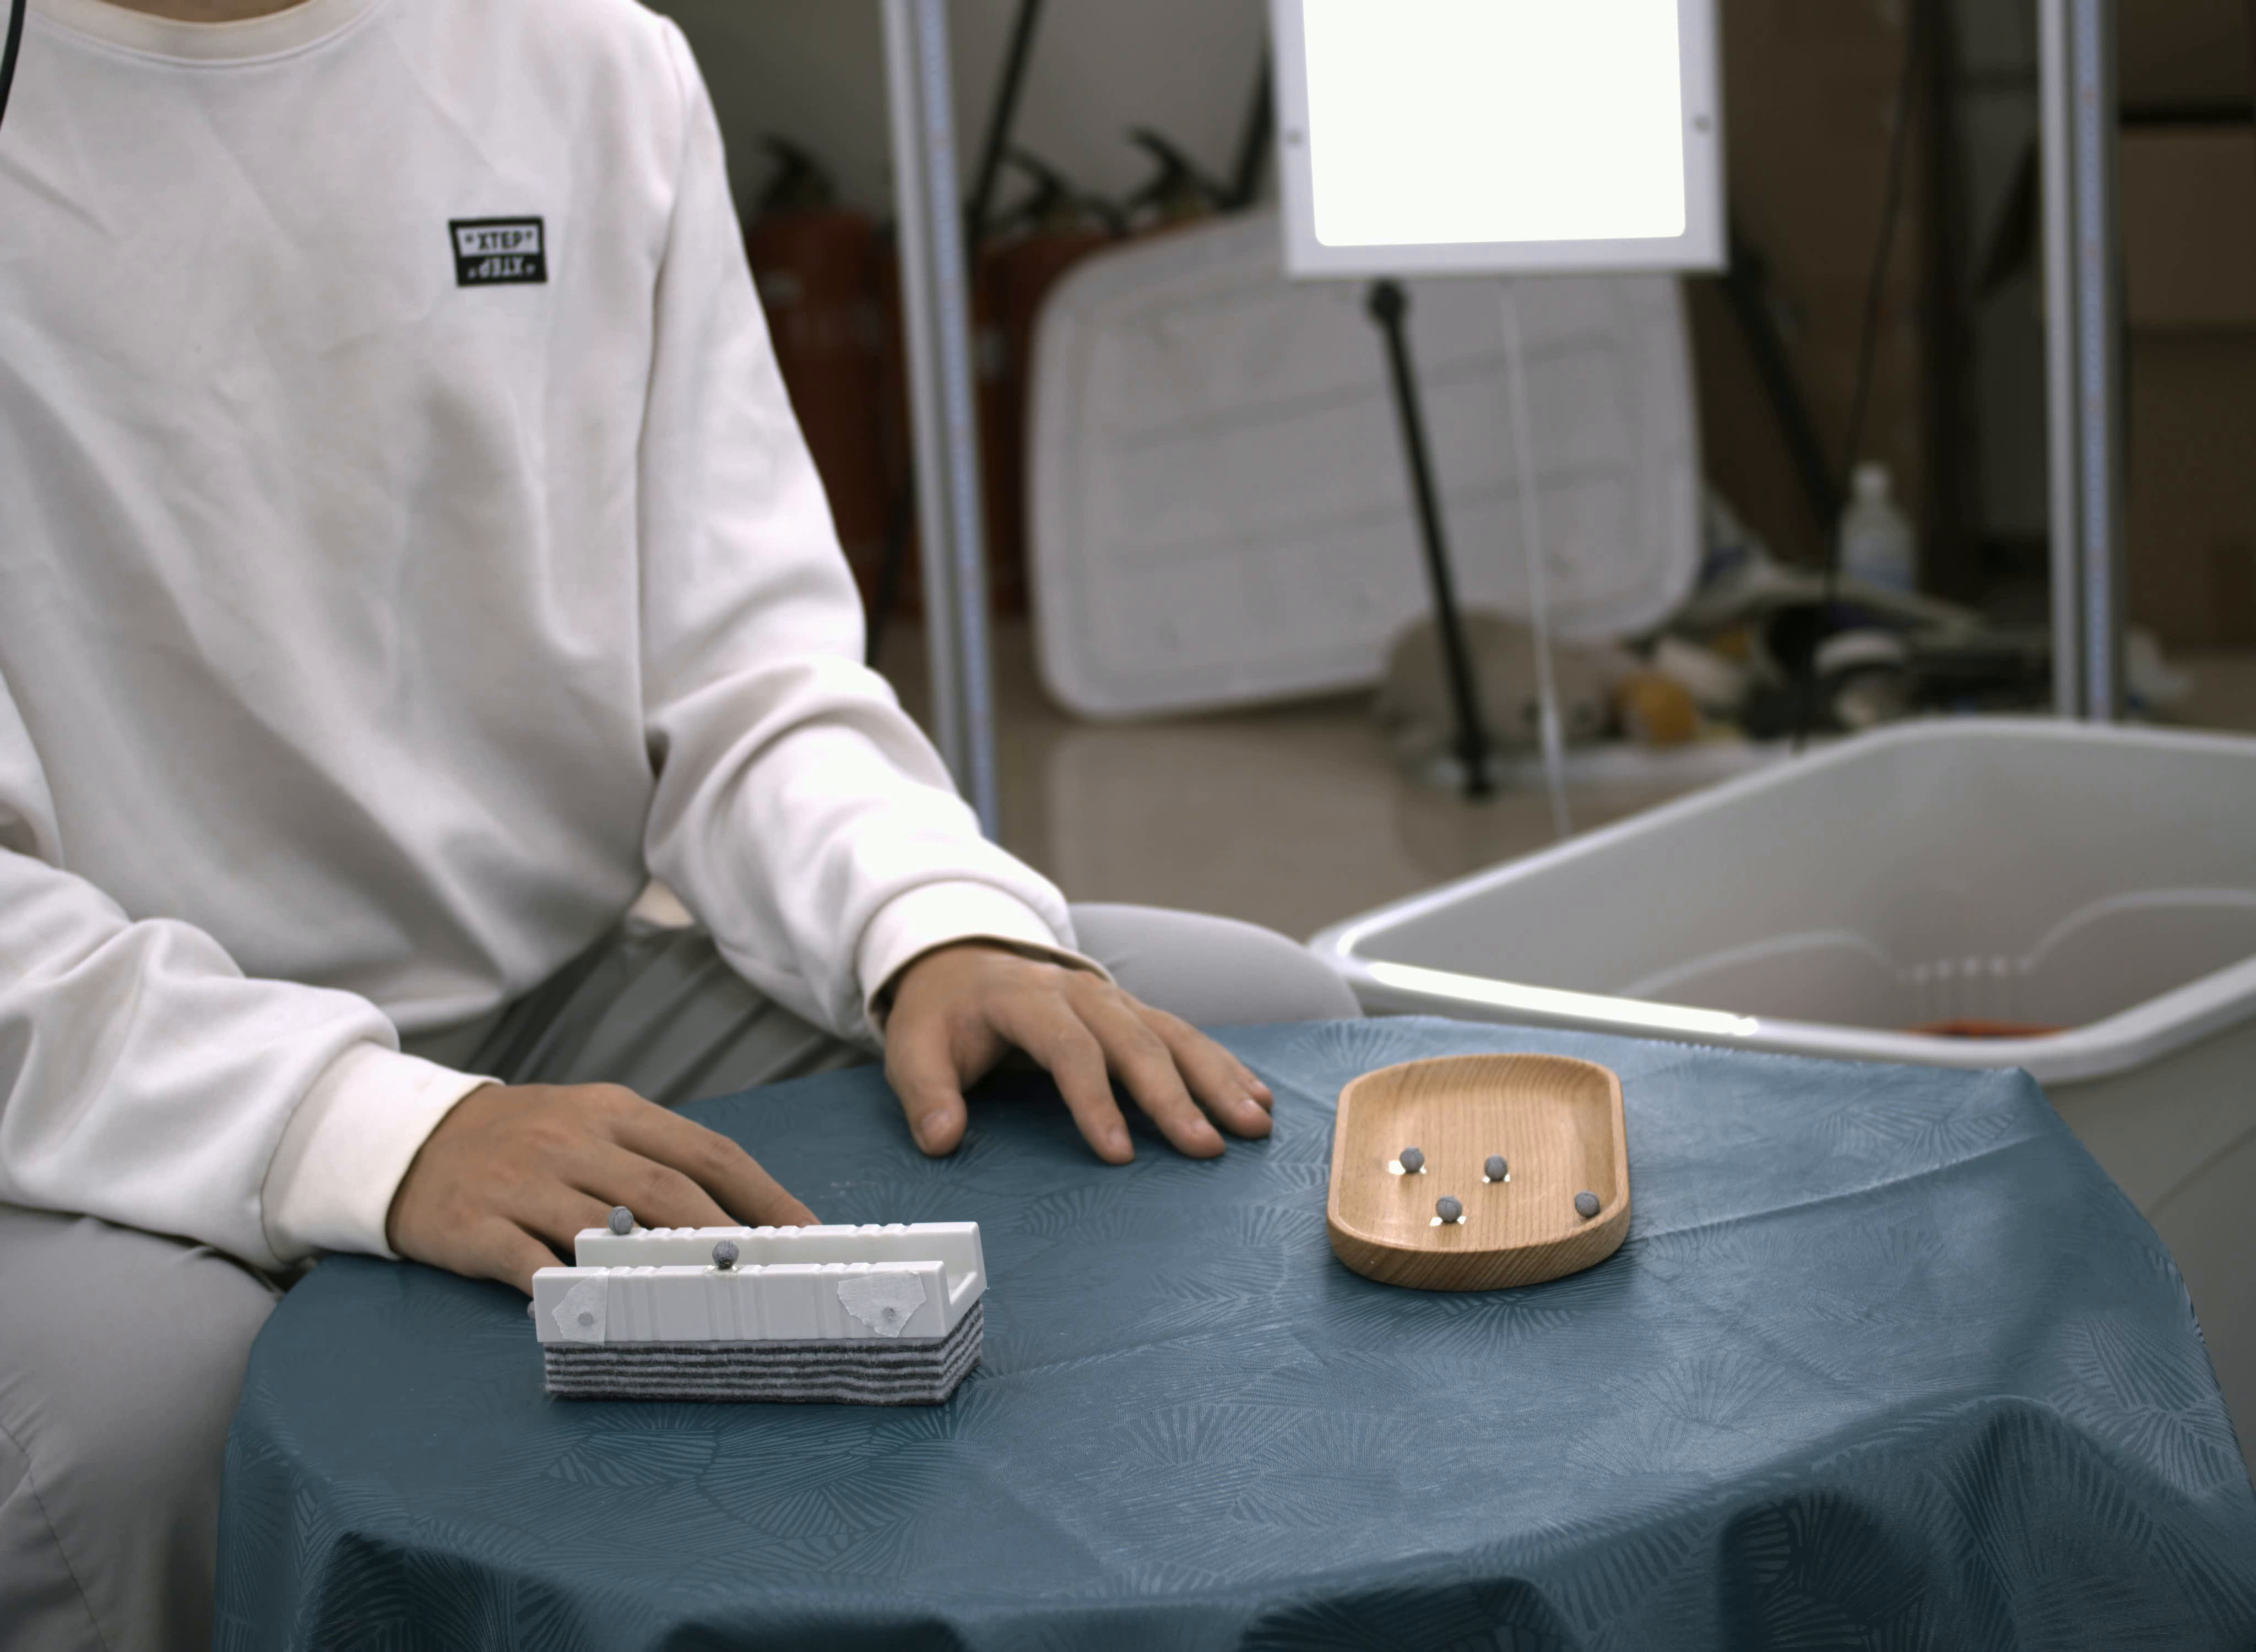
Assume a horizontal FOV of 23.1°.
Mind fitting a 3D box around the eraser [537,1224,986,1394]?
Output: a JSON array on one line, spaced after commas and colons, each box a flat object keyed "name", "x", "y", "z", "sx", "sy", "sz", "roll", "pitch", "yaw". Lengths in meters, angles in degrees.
[{"name": "eraser", "x": -0.114, "y": 0.151, "z": 1.735, "sx": 0.135, "sy": 0.047, "sz": 0.049, "roll": -2, "pitch": 8, "yaw": 13}]

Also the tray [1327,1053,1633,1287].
[{"name": "tray", "x": 0.120, "y": 0.115, "z": 1.870, "sx": 0.102, "sy": 0.020, "sz": 0.230, "roll": -3, "pitch": 12, "yaw": 4}]
